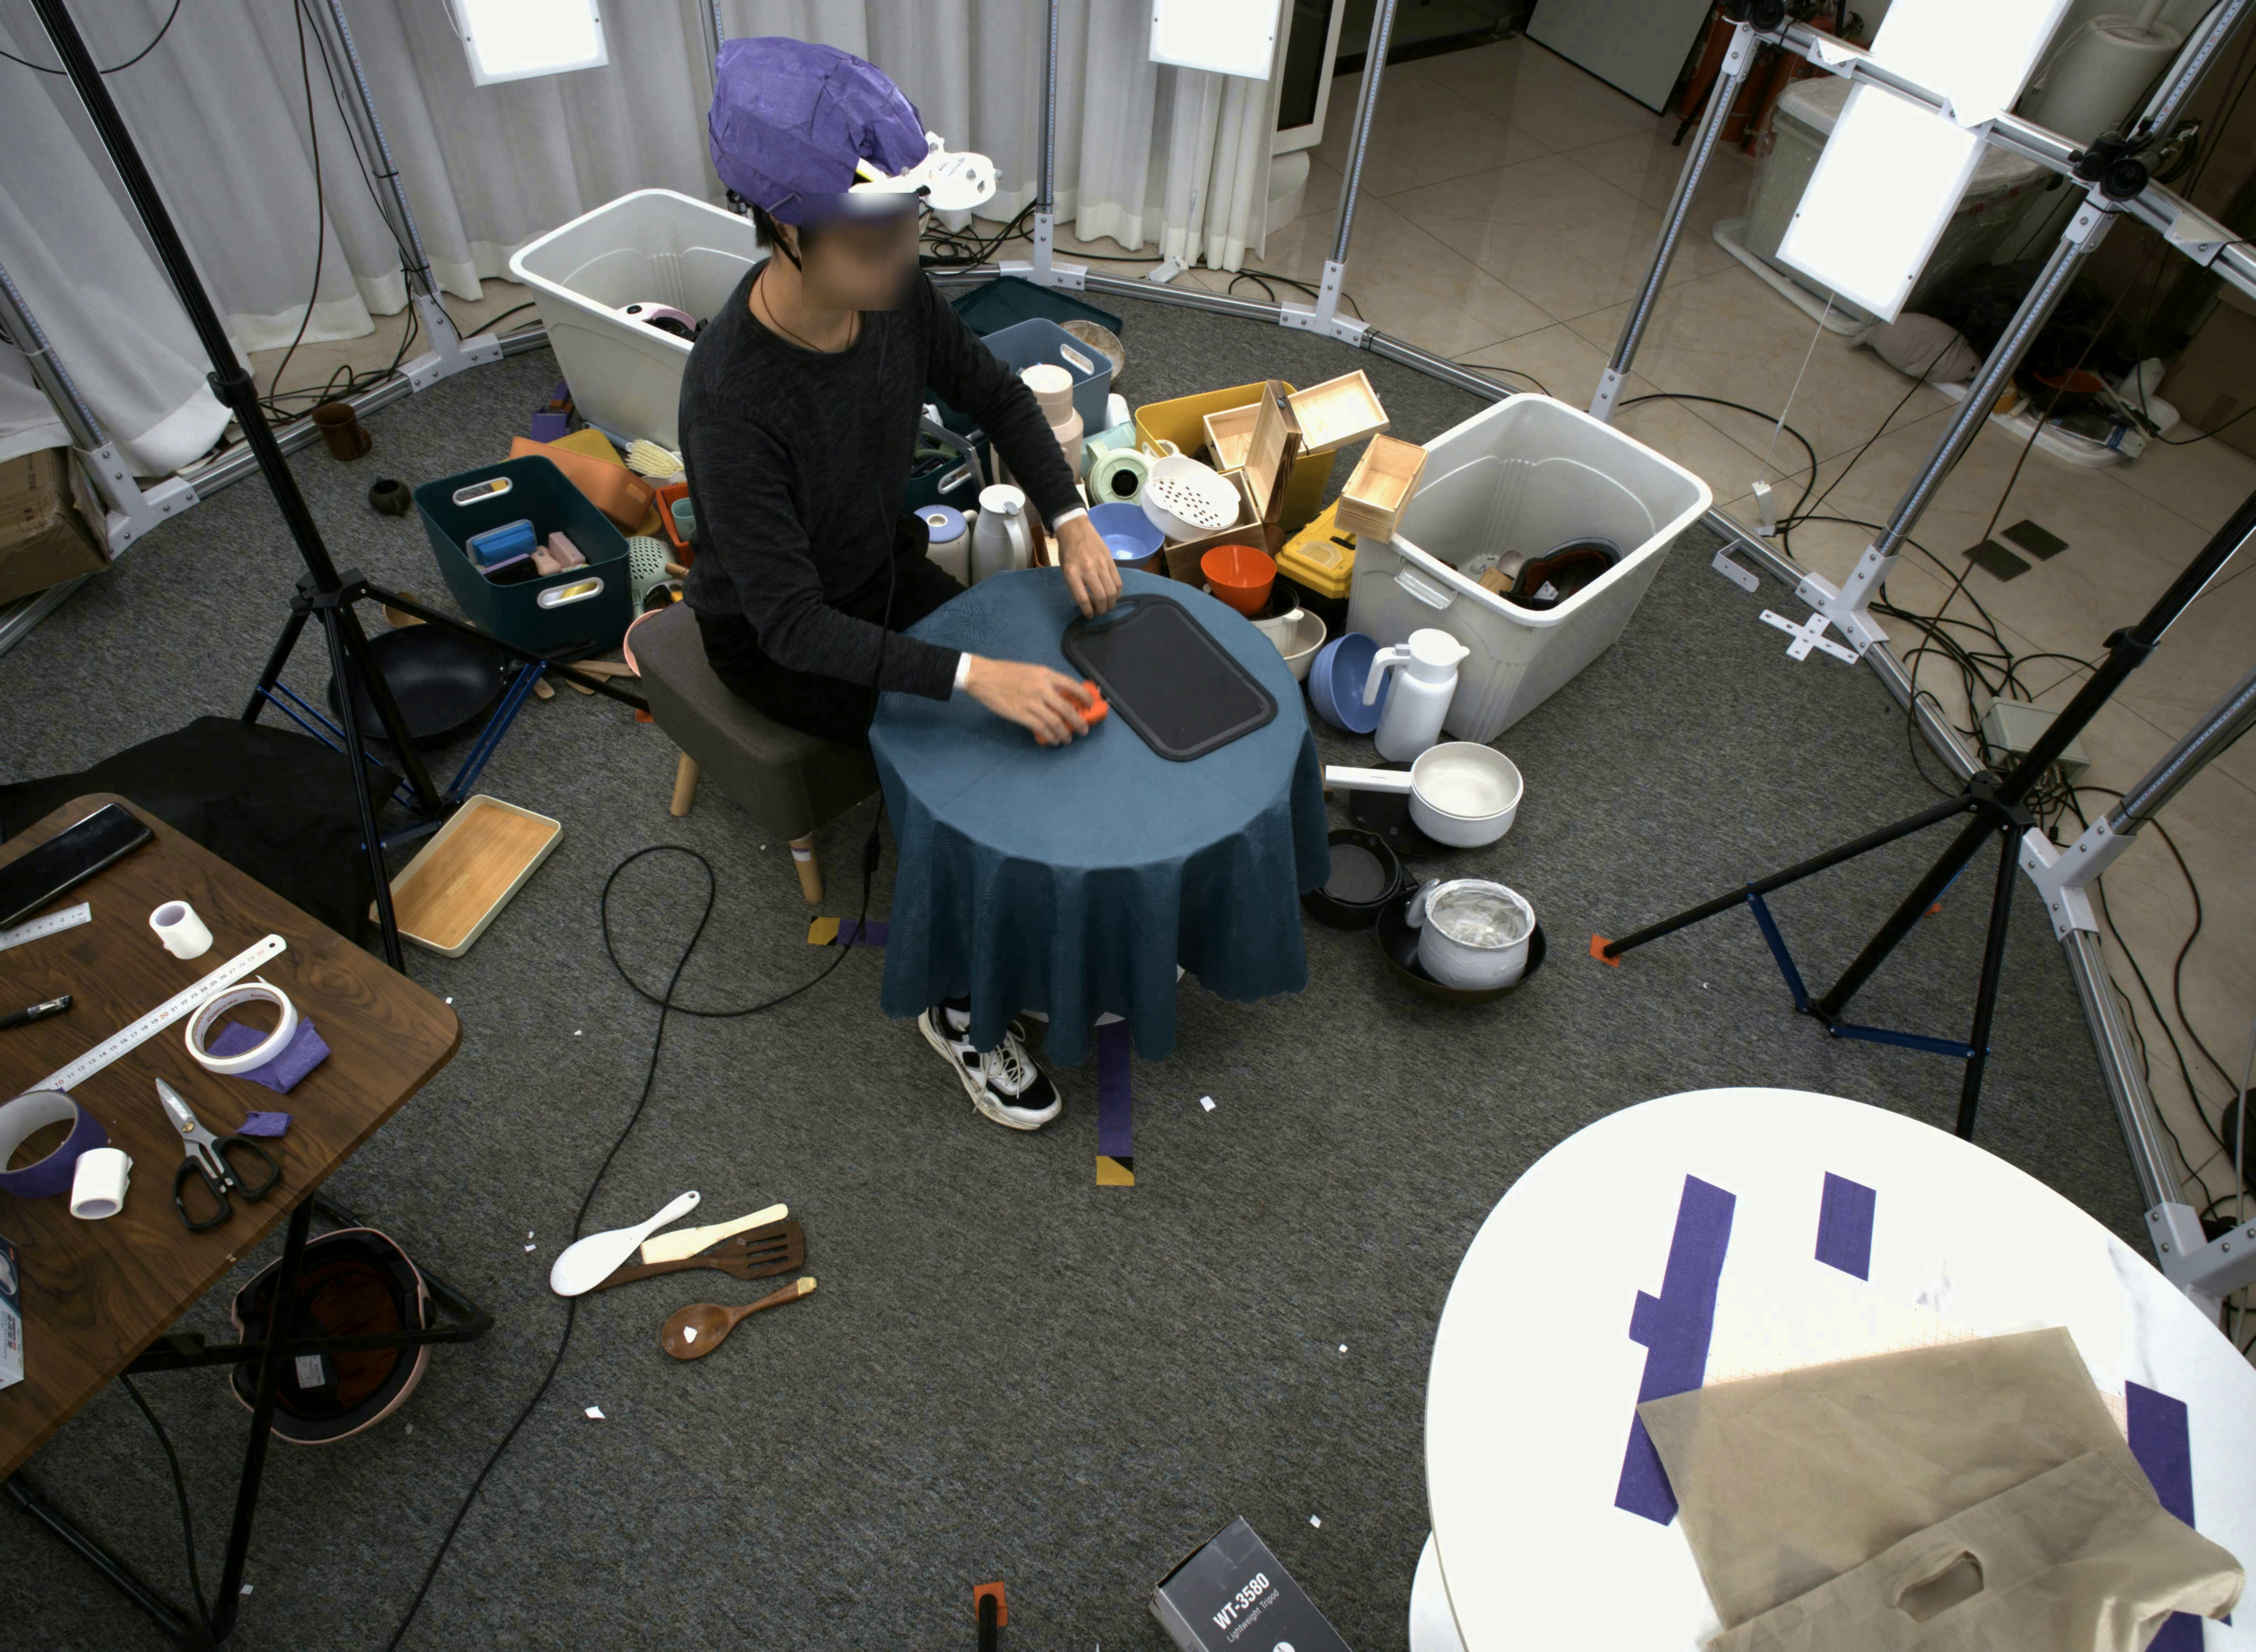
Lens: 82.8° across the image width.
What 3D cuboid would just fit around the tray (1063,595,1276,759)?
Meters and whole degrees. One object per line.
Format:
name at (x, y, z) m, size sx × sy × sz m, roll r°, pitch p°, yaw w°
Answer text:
tray at (0.052, -0.227, 1.864) m, size 0.212 × 0.009 × 0.332 m, roll -25°, pitch 56°, yaw -24°

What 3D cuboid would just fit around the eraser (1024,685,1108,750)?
eraser at (-0.085, -0.150, 1.764) m, size 0.108 × 0.022 × 0.060 m, roll -25°, pitch 59°, yaw -14°
